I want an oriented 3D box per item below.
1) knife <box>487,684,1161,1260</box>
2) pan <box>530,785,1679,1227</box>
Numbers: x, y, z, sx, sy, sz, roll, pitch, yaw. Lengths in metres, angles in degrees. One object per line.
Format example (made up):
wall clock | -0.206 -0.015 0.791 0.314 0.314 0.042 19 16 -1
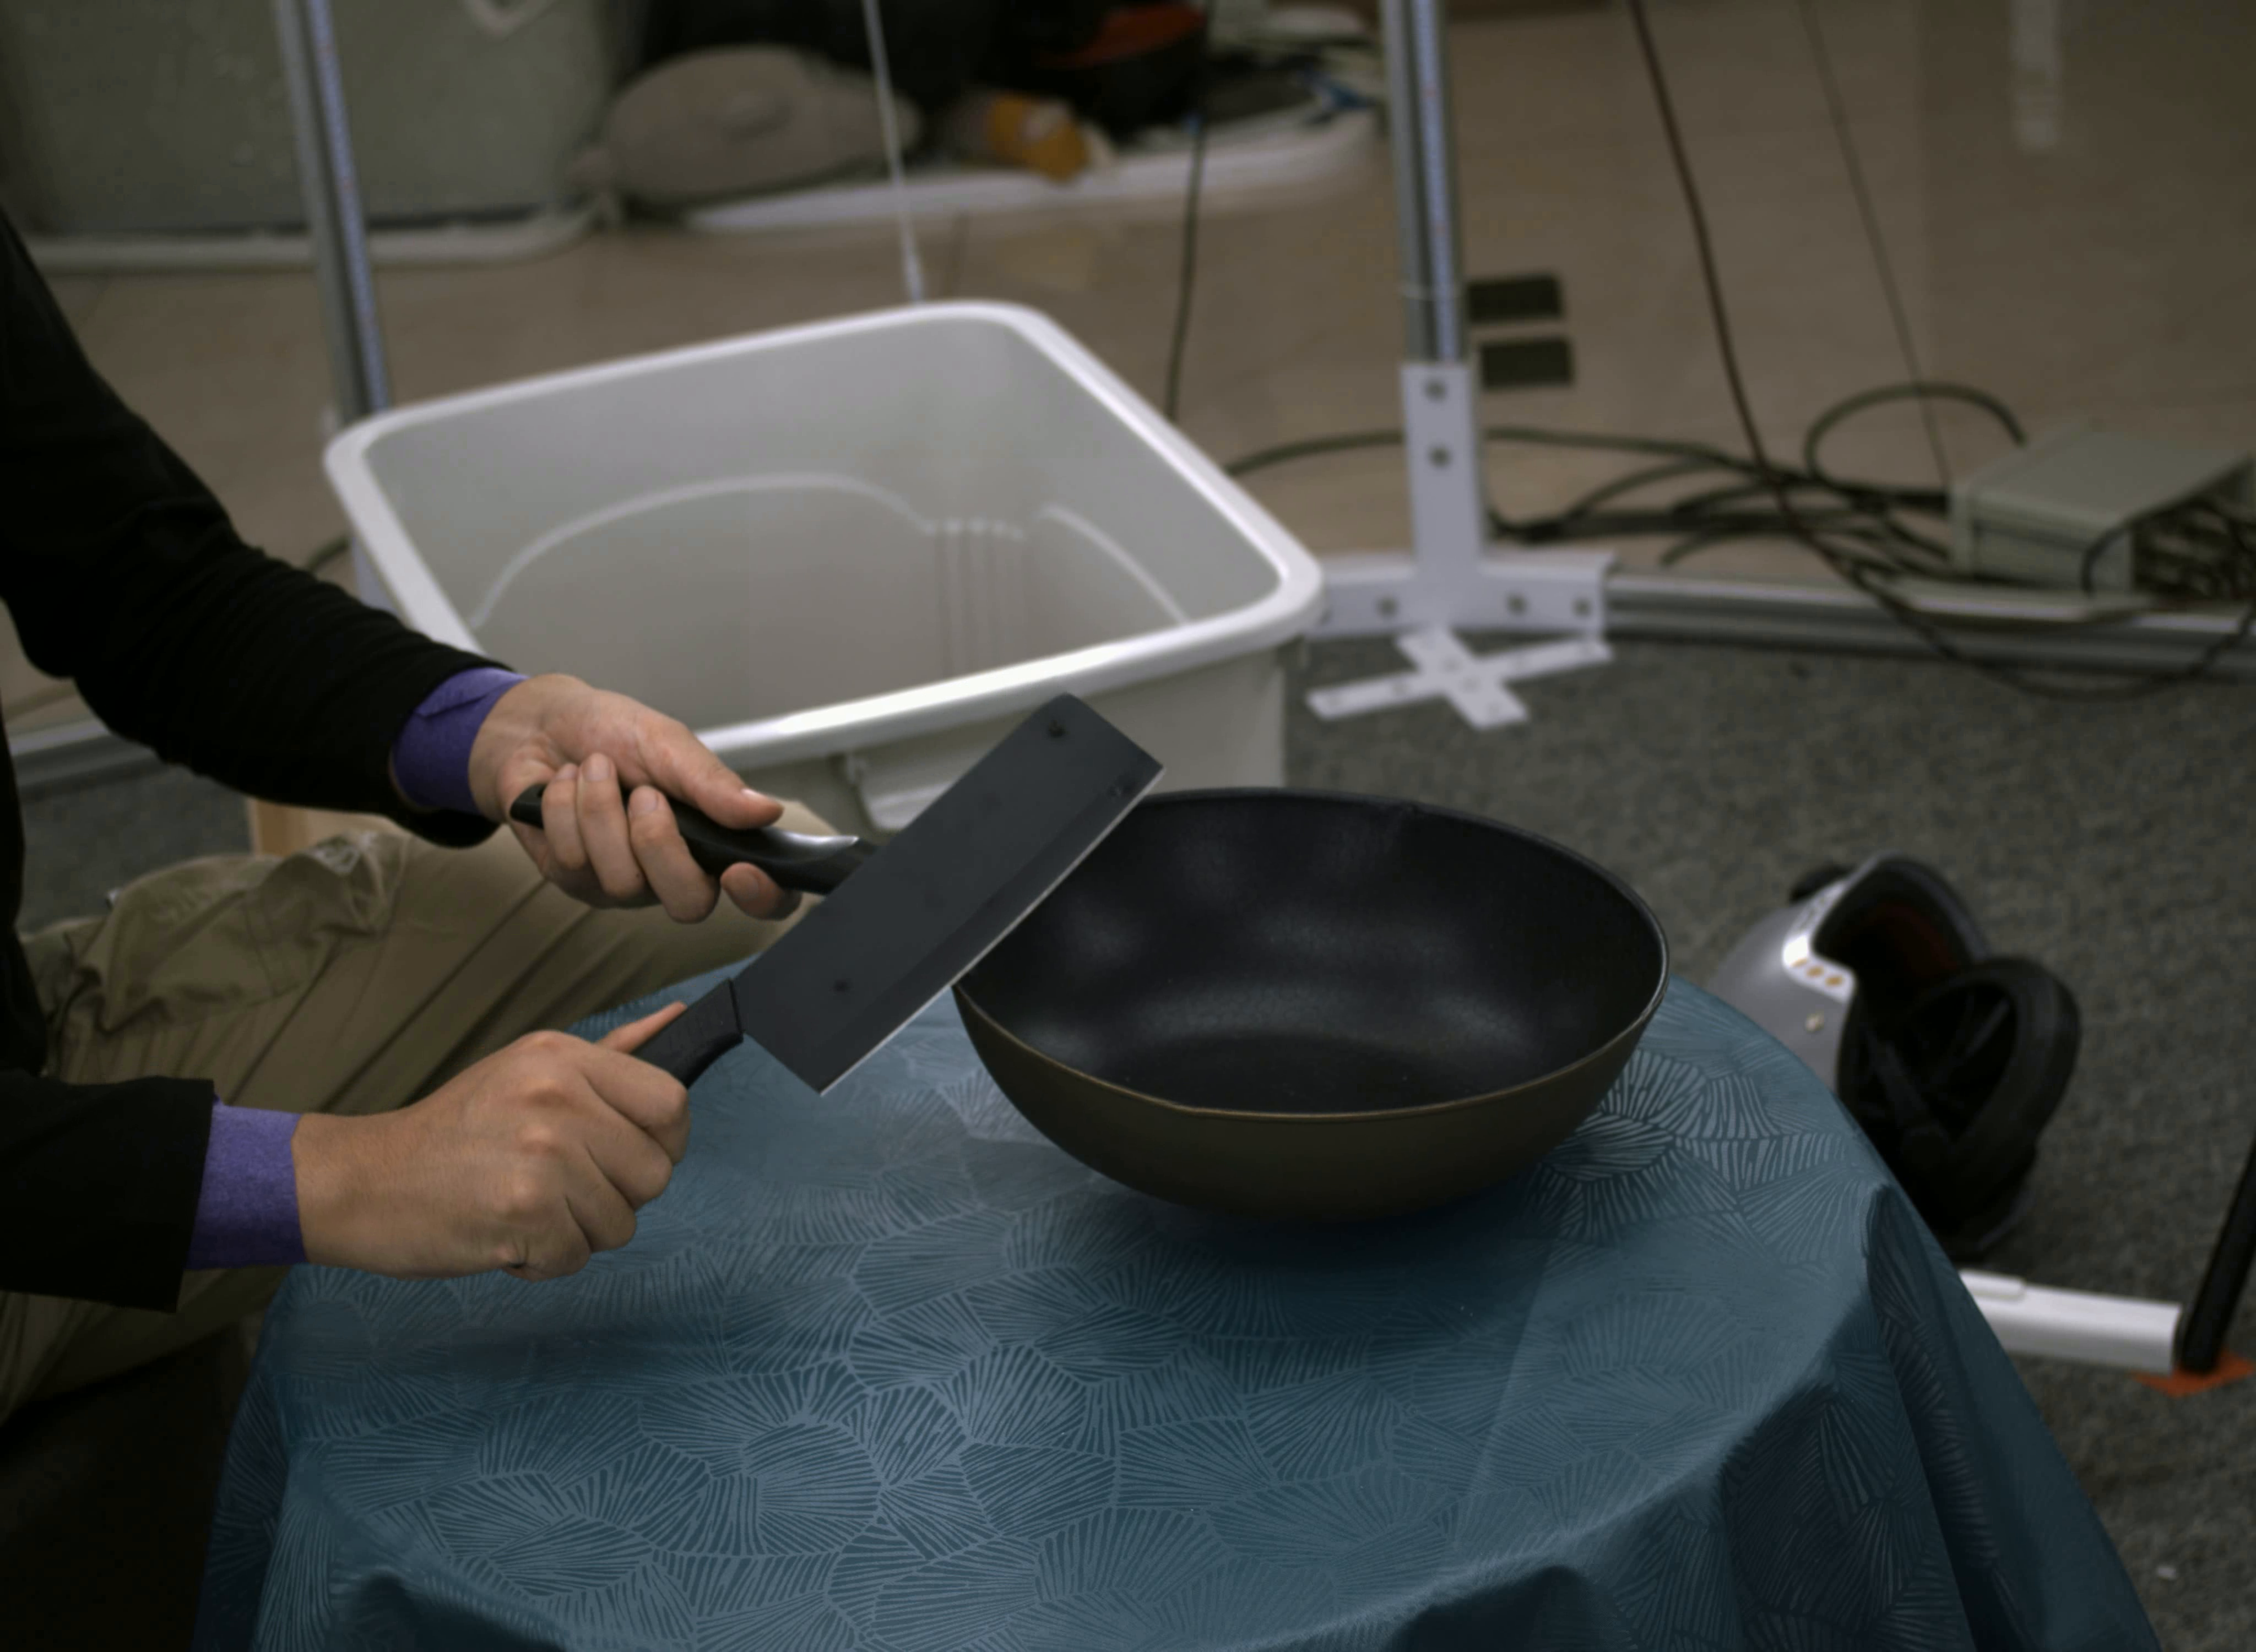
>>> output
knife | -0.114 0.056 2.085 0.301 0.021 0.080 -38 55 -10
pan | -0.020 0.062 2.171 0.461 0.088 0.284 10 26 17
